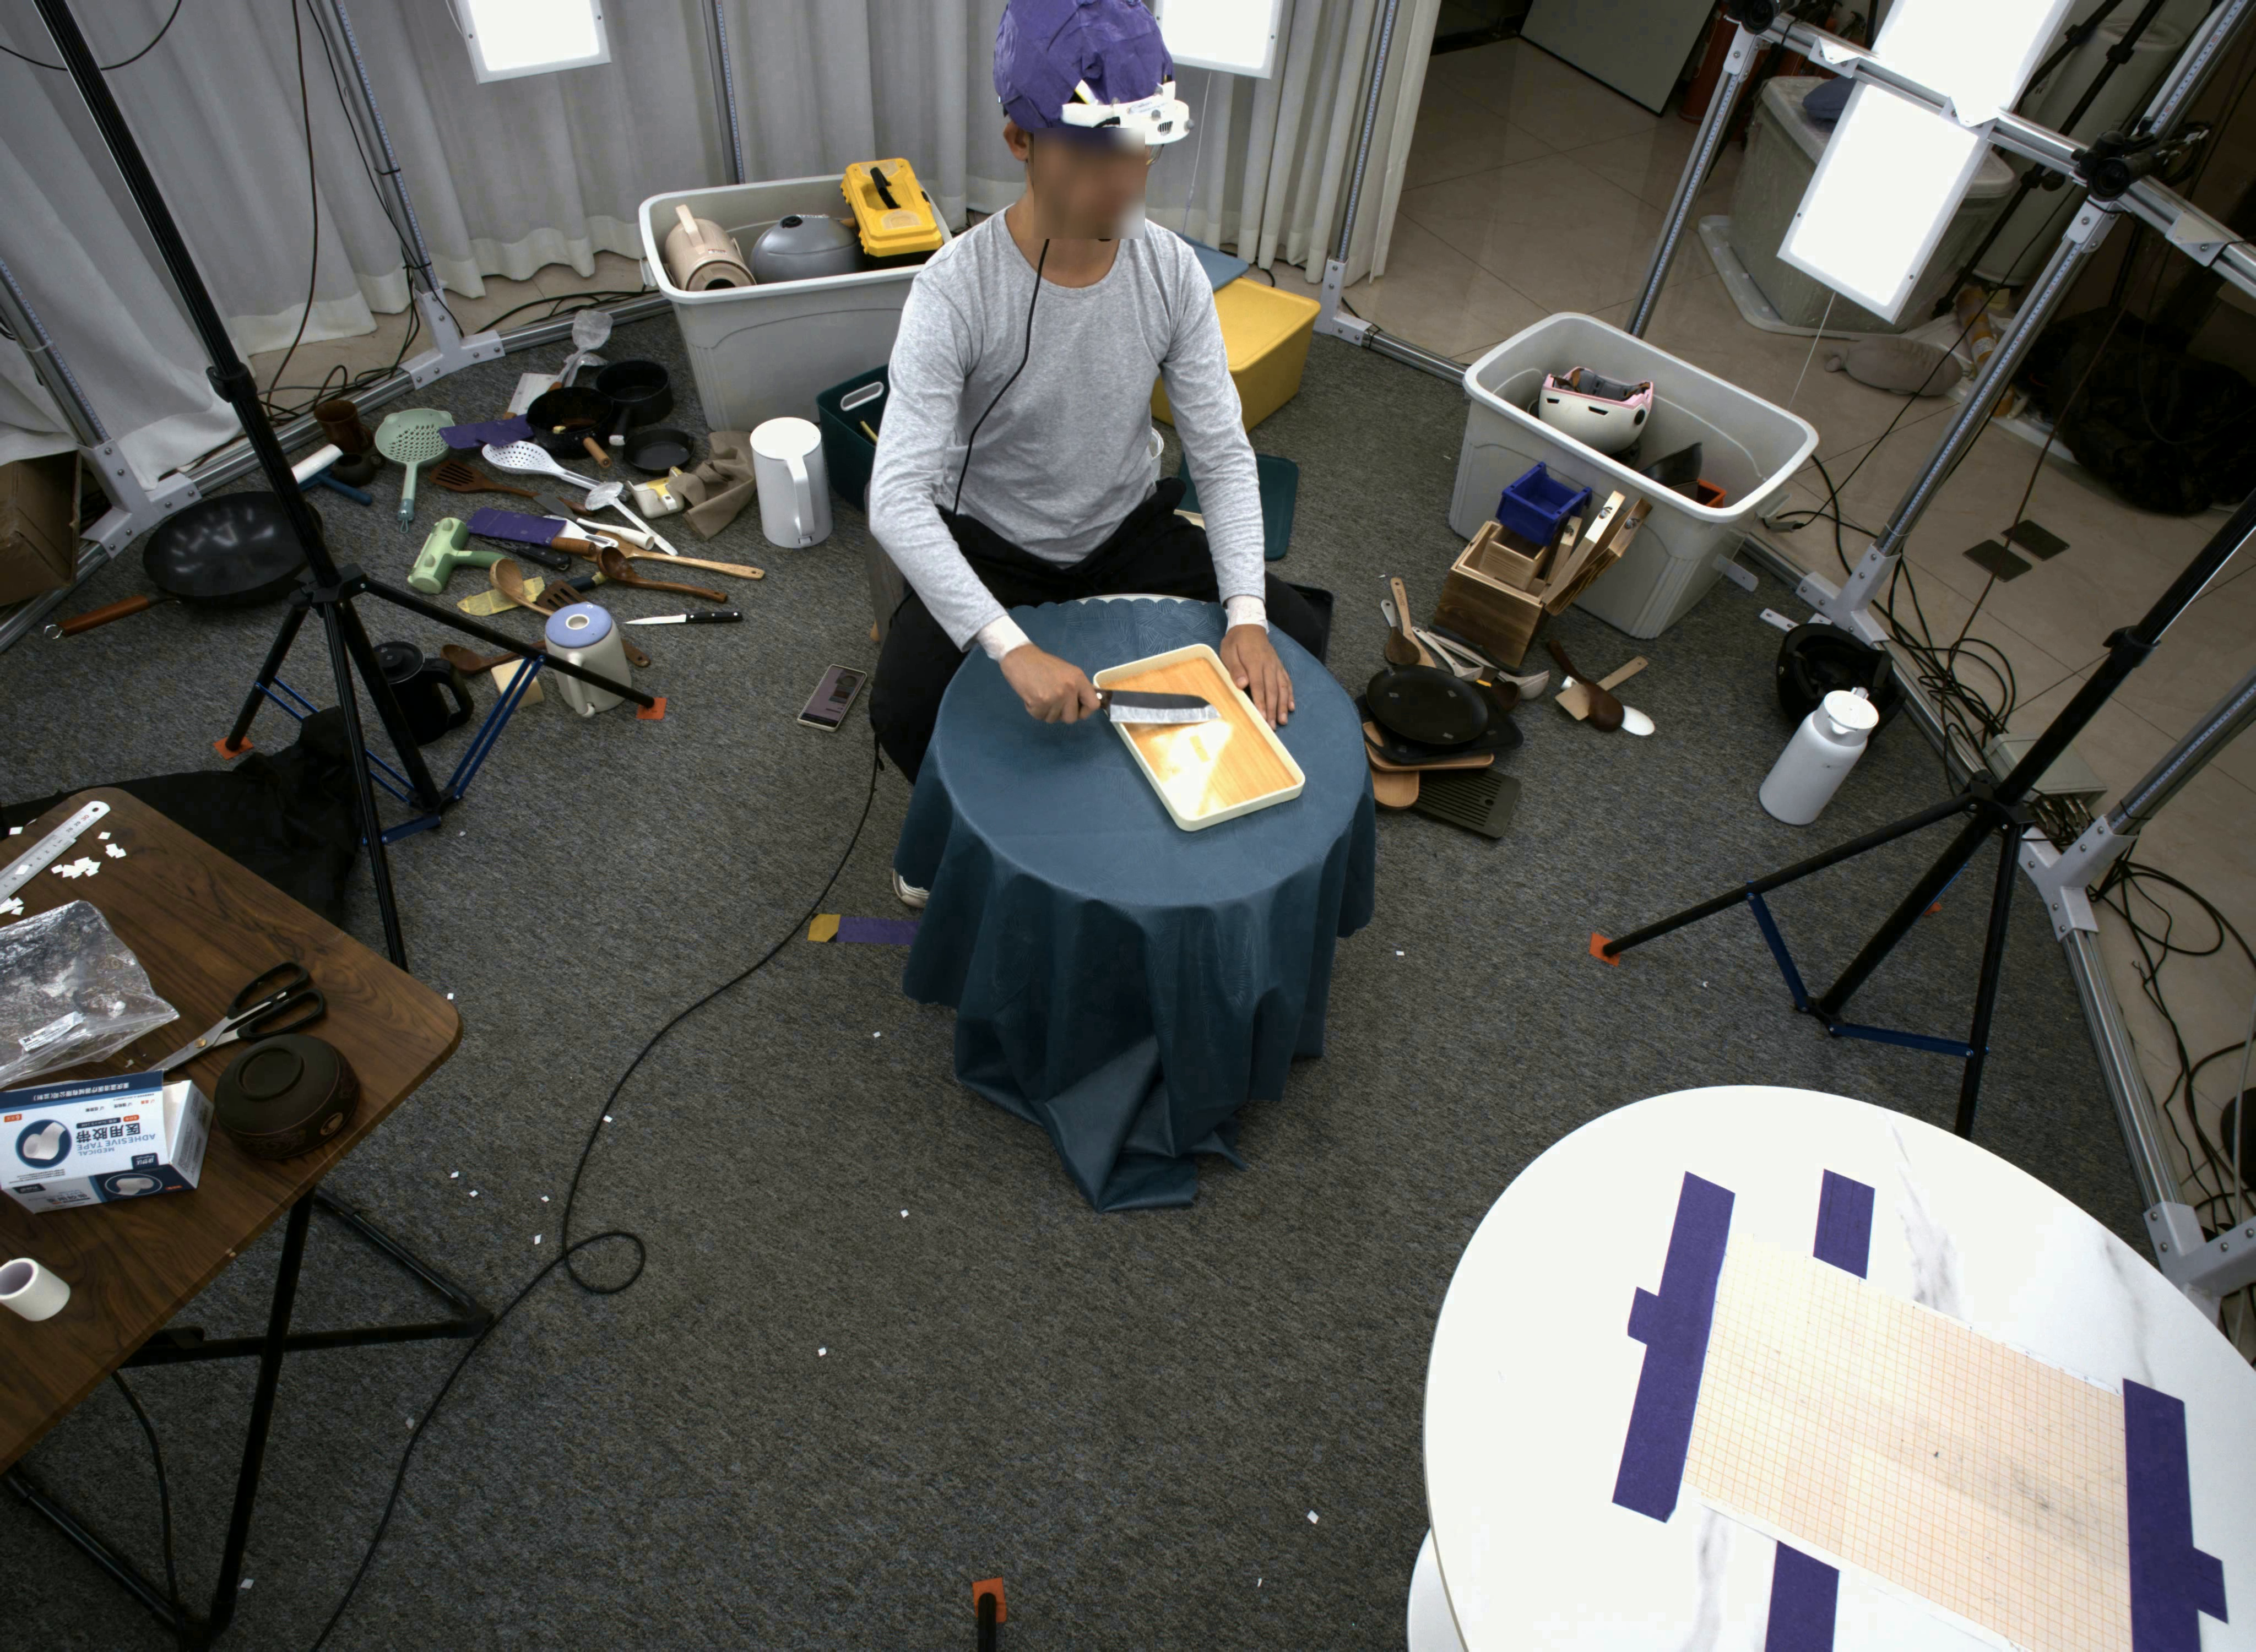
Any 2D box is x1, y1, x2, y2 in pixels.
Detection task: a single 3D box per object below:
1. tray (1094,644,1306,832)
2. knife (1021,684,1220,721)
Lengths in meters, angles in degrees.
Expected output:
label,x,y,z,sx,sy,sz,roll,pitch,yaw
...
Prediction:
label,x,y,z,sx,sy,sz,roll,pitch,yaw
tray,0.094,-0.129,1.768,0.192,0.027,0.307,-18,52,-18
knife,-0.006,-0.169,1.759,0.288,0.020,0.050,3,82,-18
